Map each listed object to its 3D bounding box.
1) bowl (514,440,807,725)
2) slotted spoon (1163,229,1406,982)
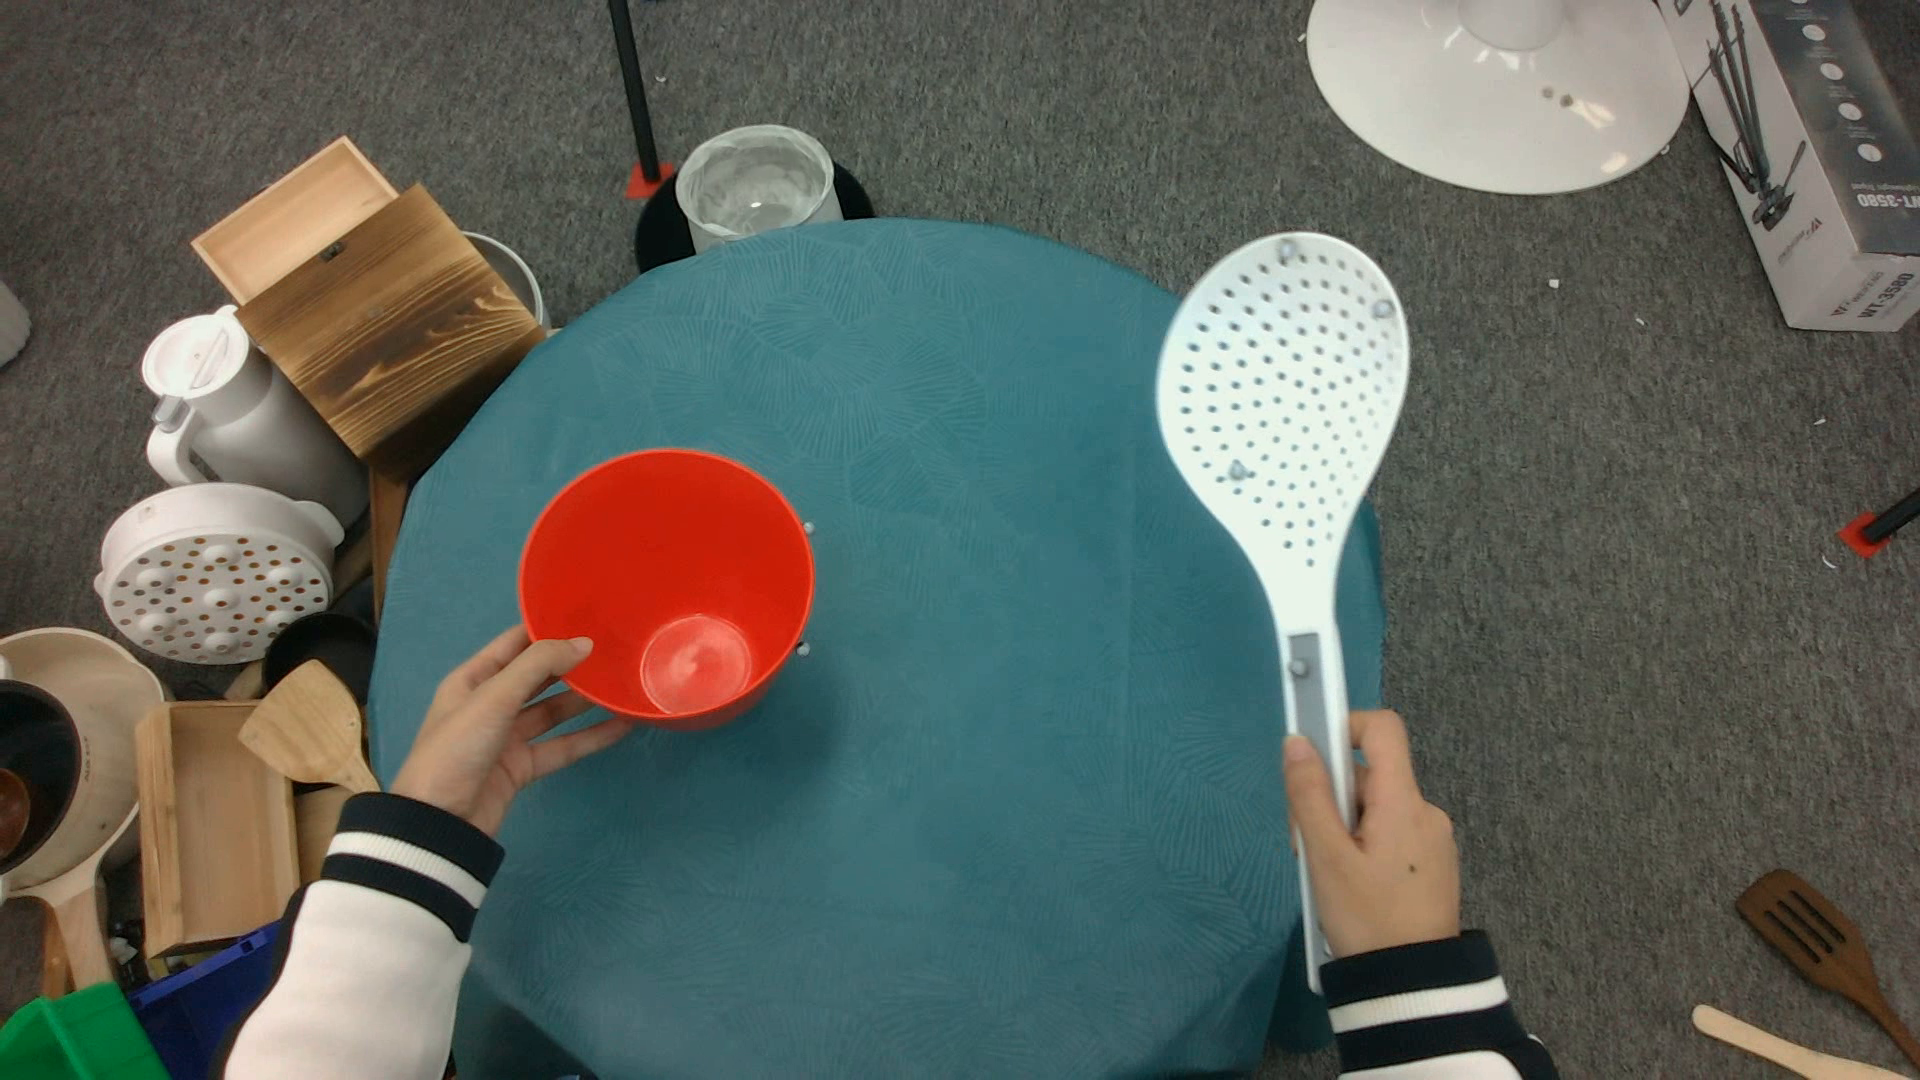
[{"bbox_3d":[-0.156,0.035,0.742,0.148,0.104,0.148,3,58,-5],"label":"bowl"},{"bbox_3d":[0.160,0.024,0.645,0.135,0.046,0.350,-14,68,44],"label":"slotted spoon"}]
